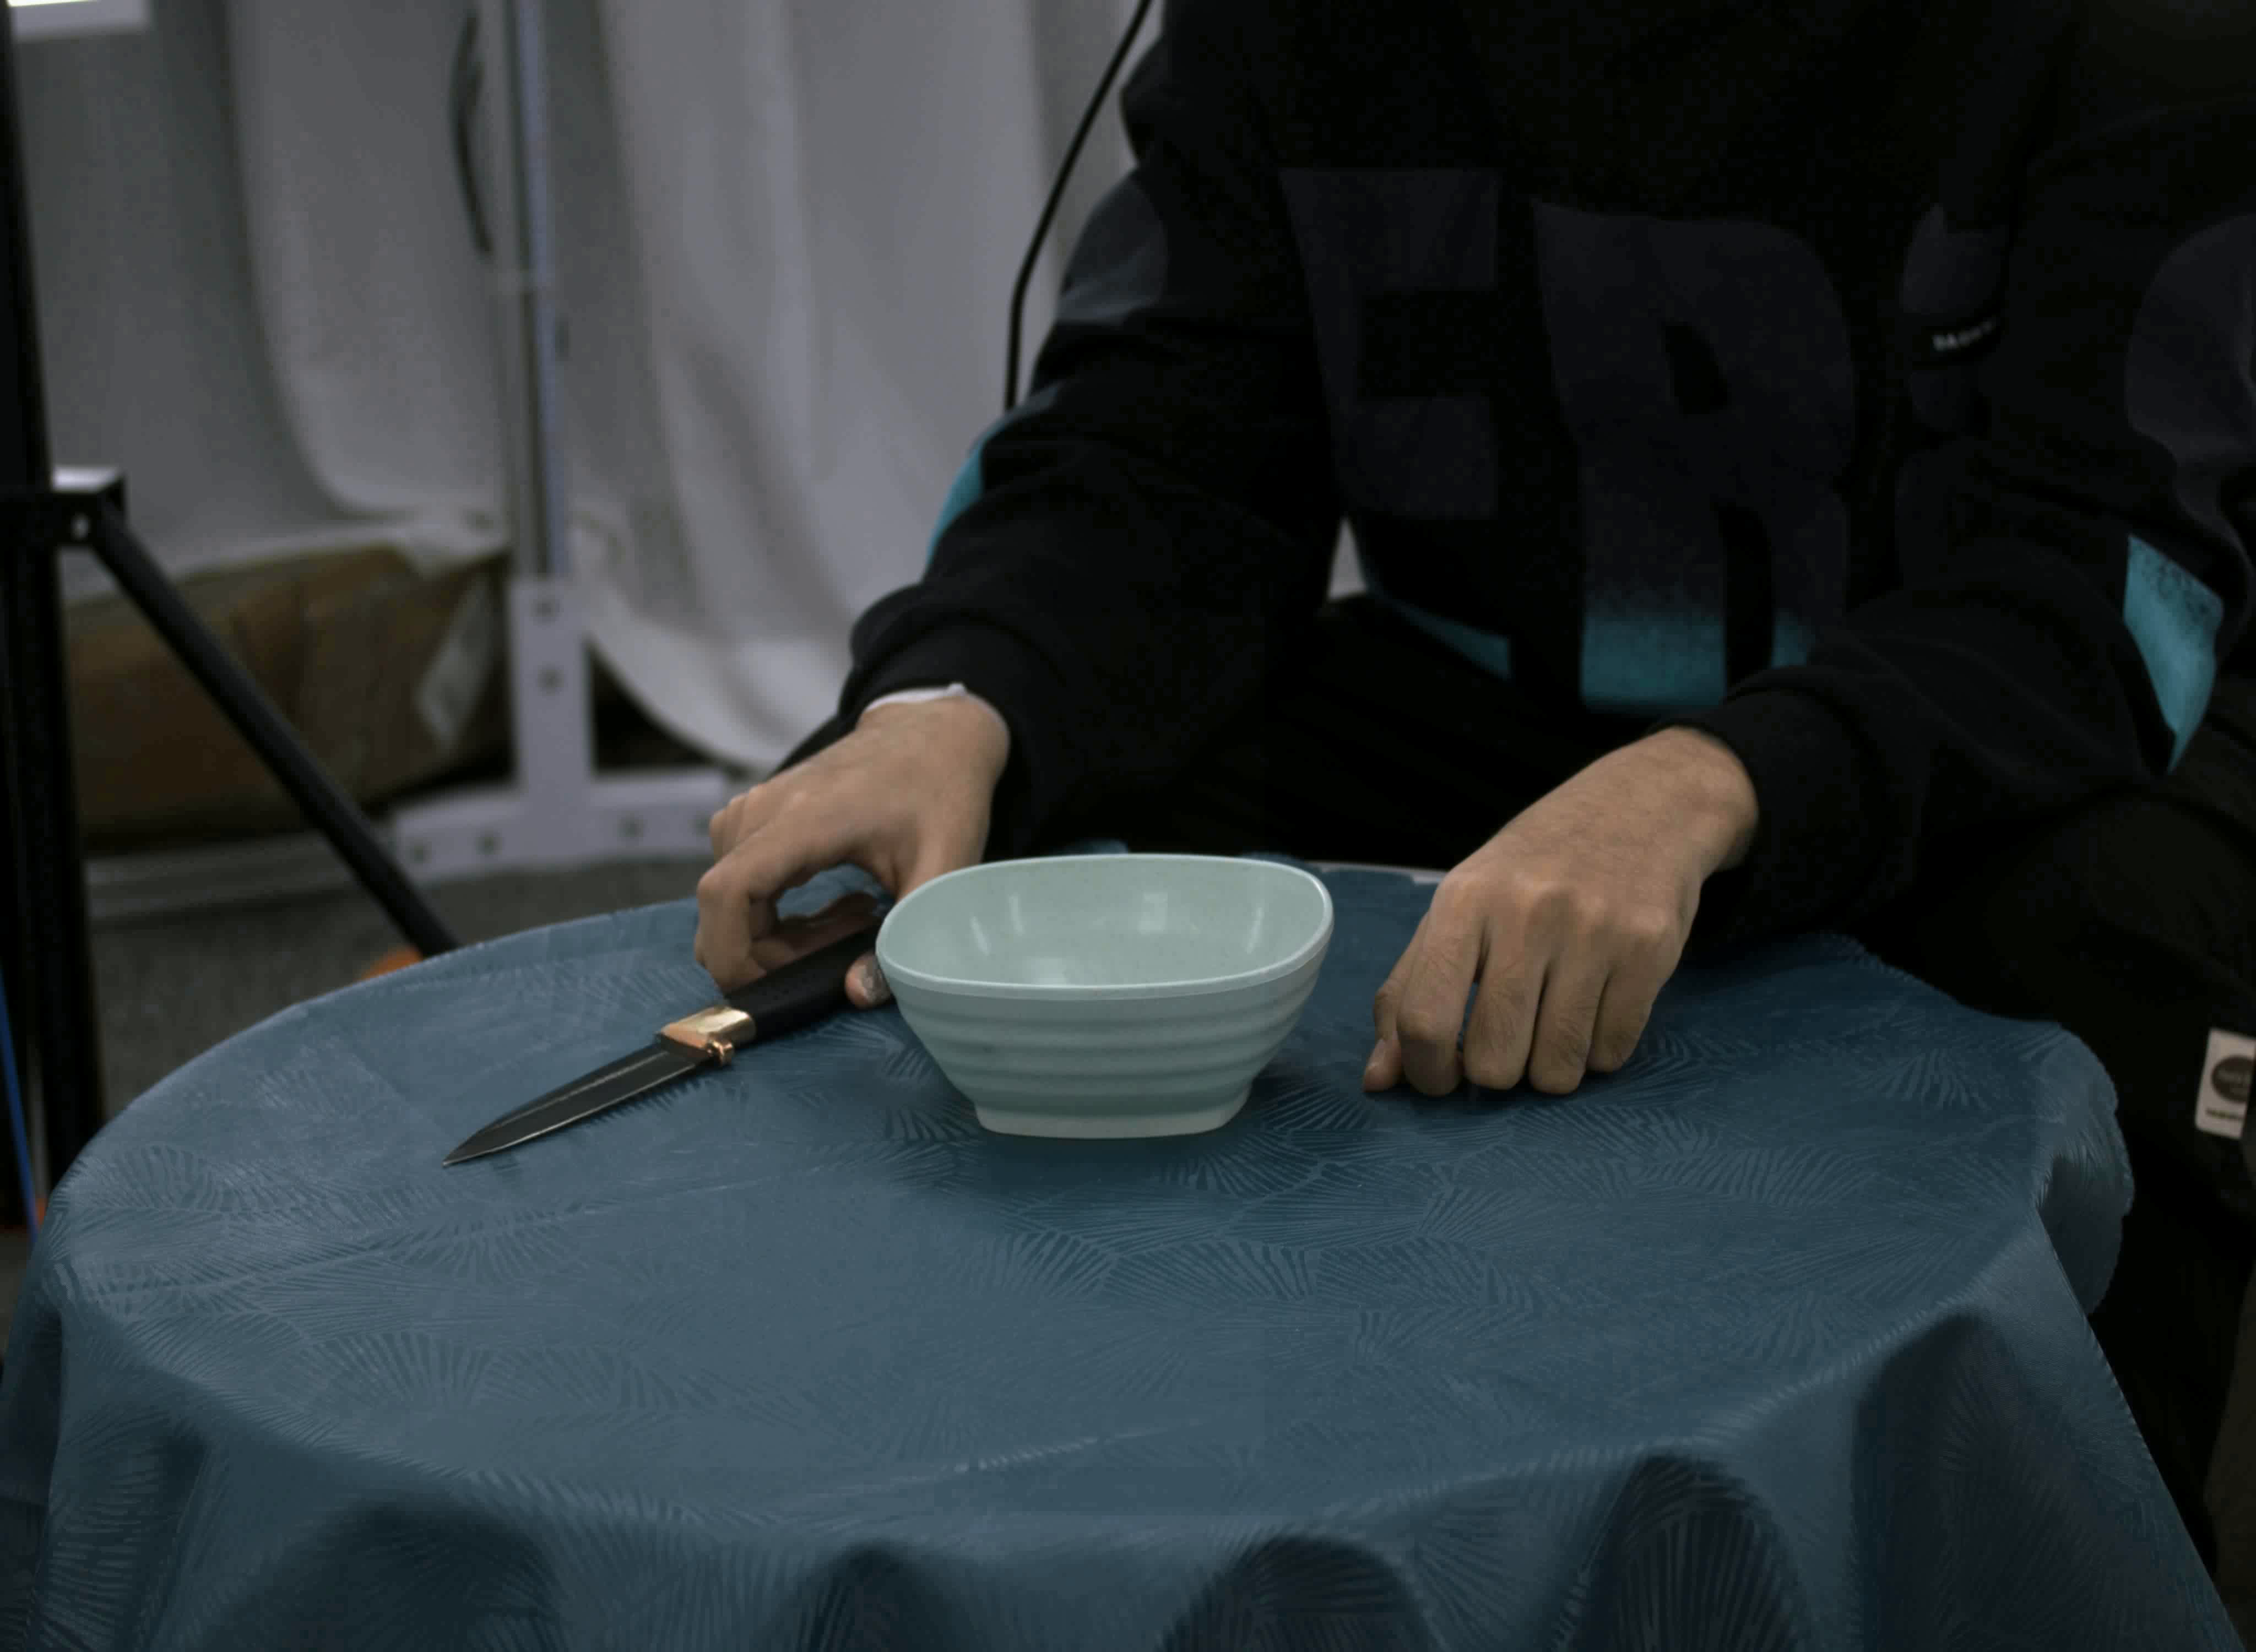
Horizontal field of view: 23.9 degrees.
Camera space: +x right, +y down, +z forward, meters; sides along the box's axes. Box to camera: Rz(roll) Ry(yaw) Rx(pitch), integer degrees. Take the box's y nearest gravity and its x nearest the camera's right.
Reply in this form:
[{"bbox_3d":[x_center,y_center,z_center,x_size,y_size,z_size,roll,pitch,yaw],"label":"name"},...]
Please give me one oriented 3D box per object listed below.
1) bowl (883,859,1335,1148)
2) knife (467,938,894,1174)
[{"bbox_3d":[-0.004,0.058,1.637,0.151,0.058,0.152,-4,16,0],"label":"bowl"},{"bbox_3d":[-0.139,0.072,1.689,0.027,0.017,0.221,18,26,31],"label":"knife"}]
